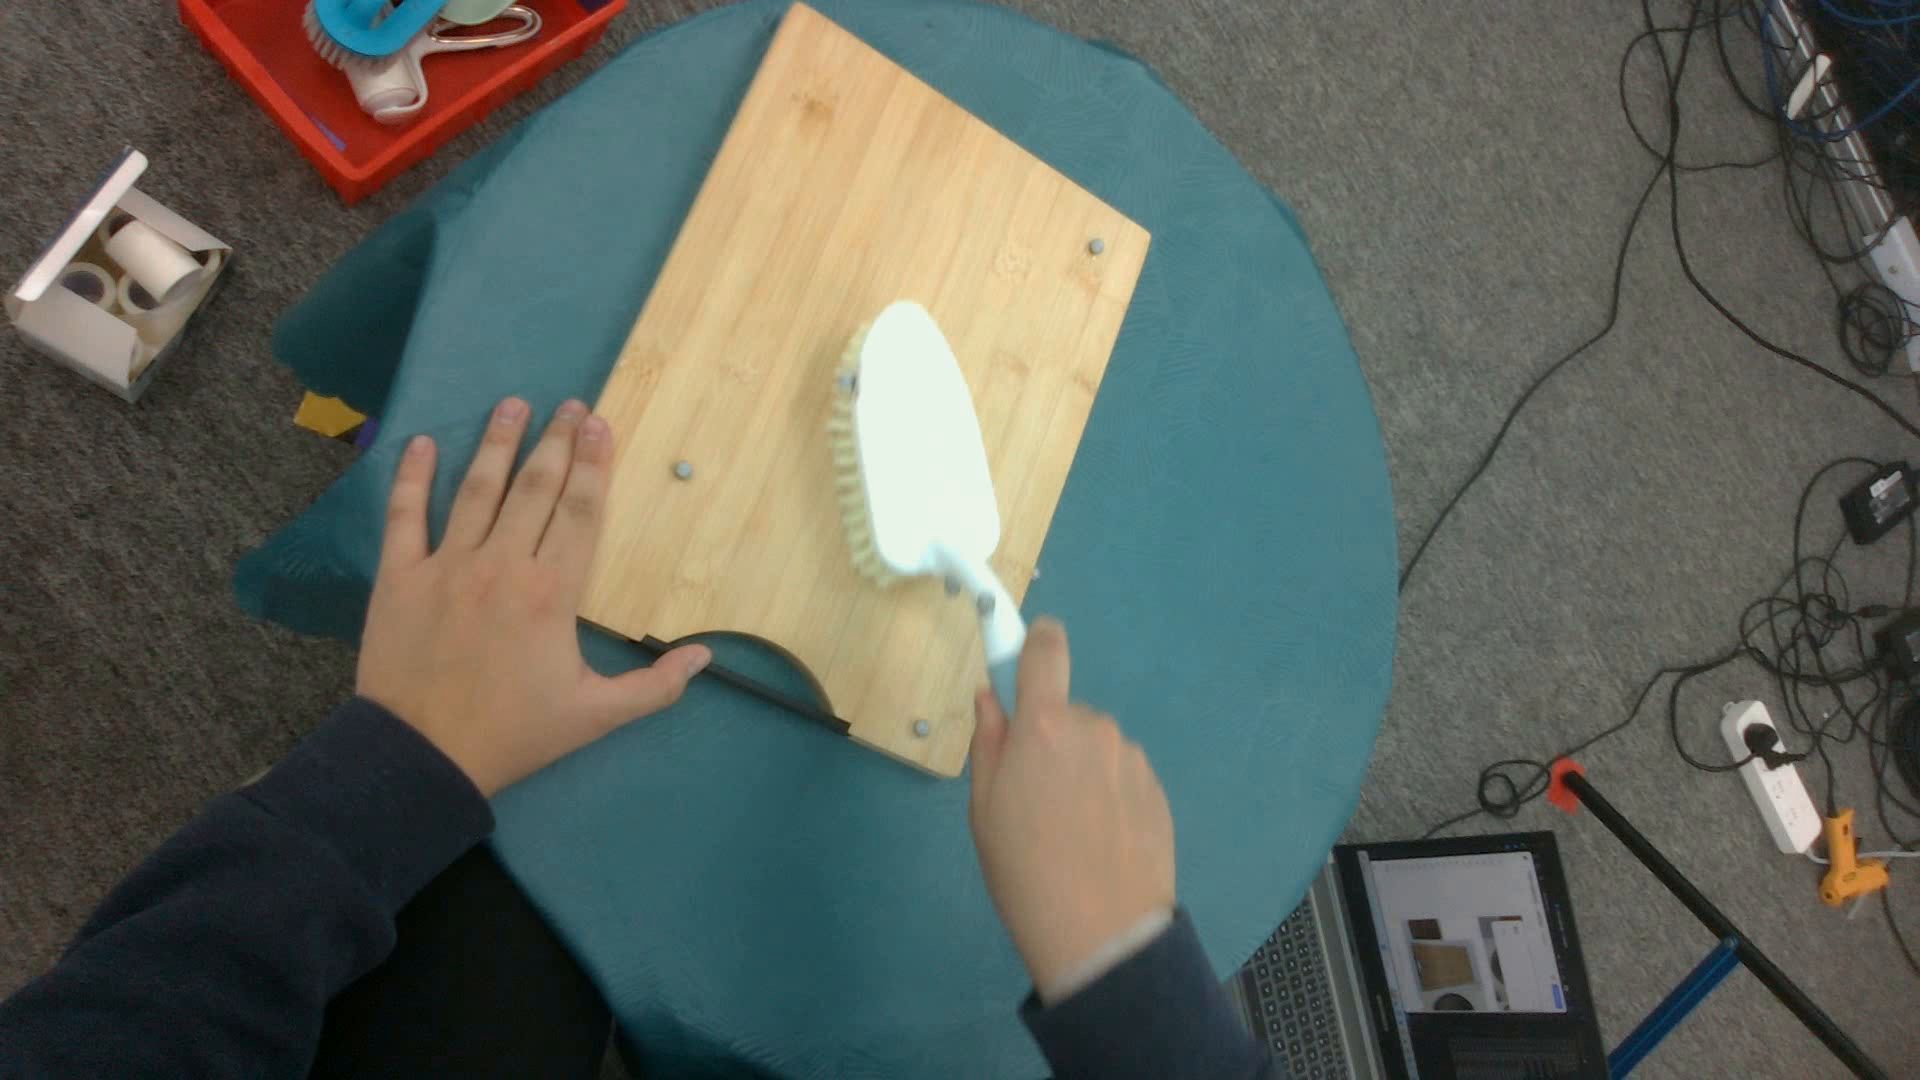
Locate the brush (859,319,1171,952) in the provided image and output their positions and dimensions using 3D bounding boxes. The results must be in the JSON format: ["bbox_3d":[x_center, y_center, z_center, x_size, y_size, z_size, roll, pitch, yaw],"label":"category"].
[{"bbox_3d":[0.014,0.045,0.669,0.083,0.084,0.326,-21,71,4],"label":"brush"}]

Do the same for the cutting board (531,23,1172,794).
[{"bbox_3d":[-0.037,-0.072,0.731,0.251,0.023,0.349,26,71,-19],"label":"cutting board"}]
